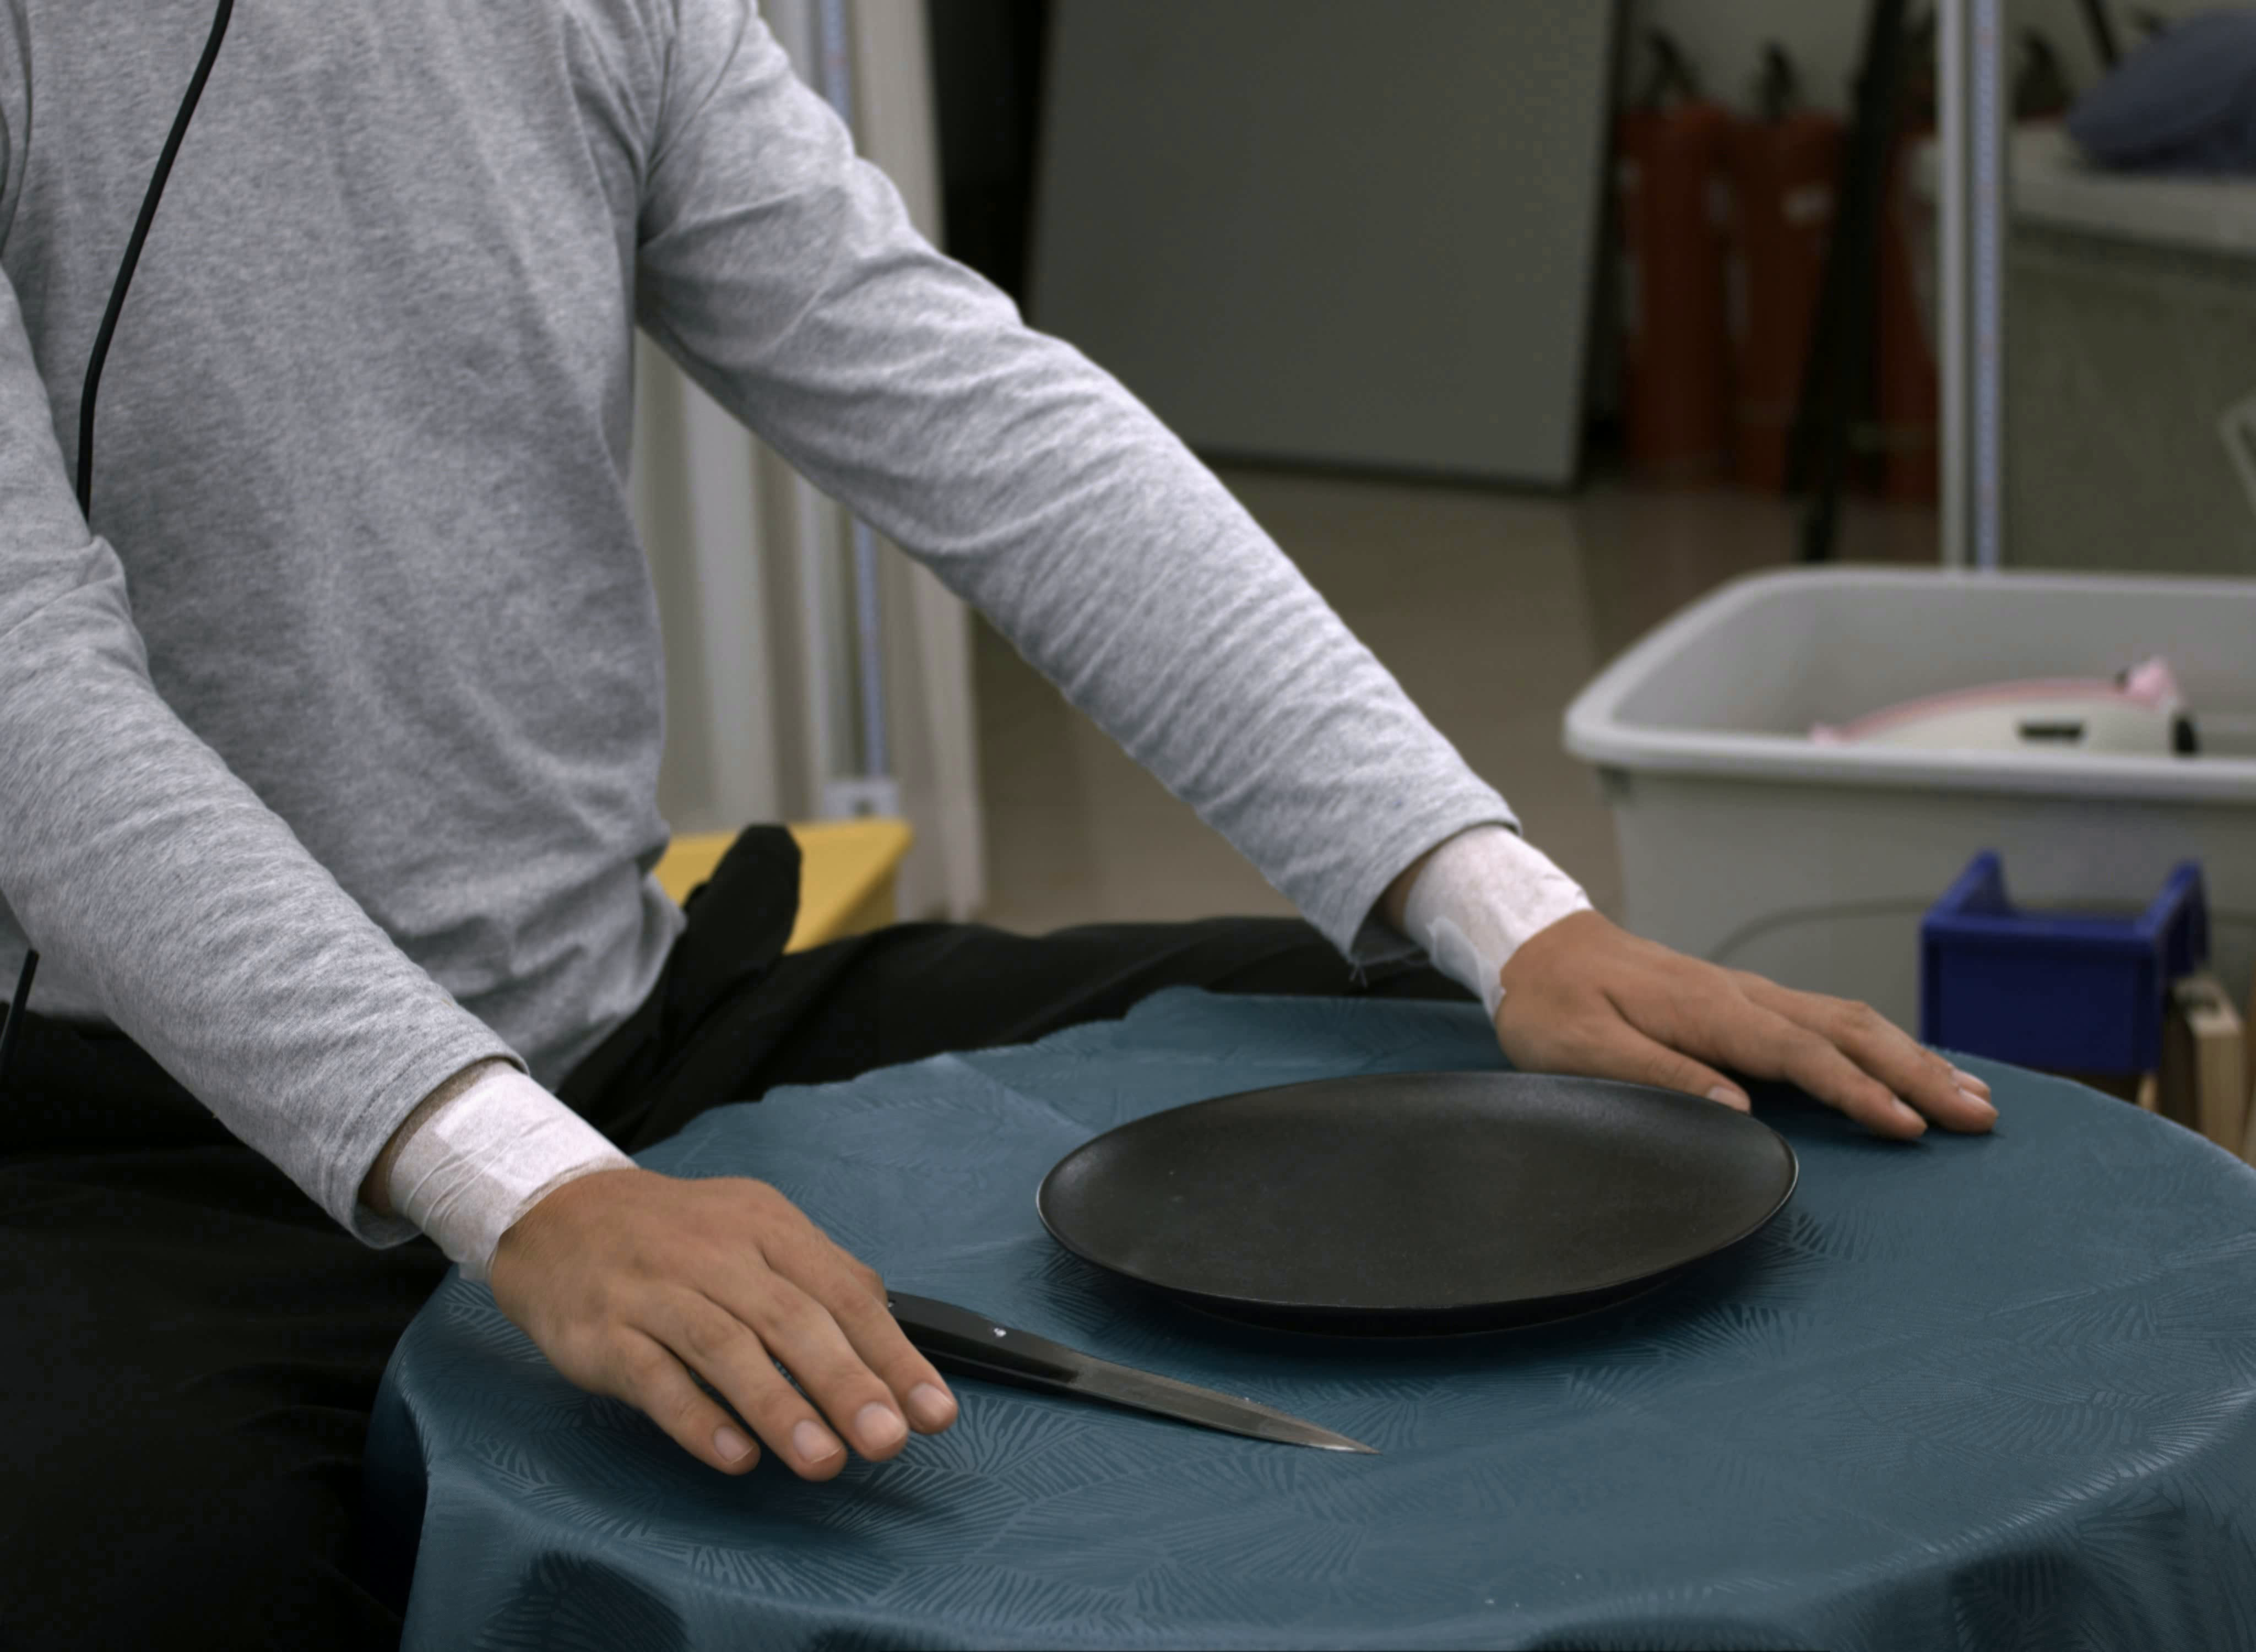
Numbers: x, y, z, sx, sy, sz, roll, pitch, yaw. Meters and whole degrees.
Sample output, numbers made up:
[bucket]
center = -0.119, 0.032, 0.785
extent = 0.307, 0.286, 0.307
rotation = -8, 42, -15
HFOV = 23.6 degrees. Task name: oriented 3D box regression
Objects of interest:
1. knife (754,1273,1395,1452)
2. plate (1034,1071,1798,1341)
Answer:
[knife]
center = -0.021, 0.161, 1.593
extent = 0.240, 0.016, 0.024
rotation = 10, 22, 37
[plate]
center = 0.091, 0.122, 1.698
extent = 0.241, 0.024, 0.245
rotation = -4, 13, 0
